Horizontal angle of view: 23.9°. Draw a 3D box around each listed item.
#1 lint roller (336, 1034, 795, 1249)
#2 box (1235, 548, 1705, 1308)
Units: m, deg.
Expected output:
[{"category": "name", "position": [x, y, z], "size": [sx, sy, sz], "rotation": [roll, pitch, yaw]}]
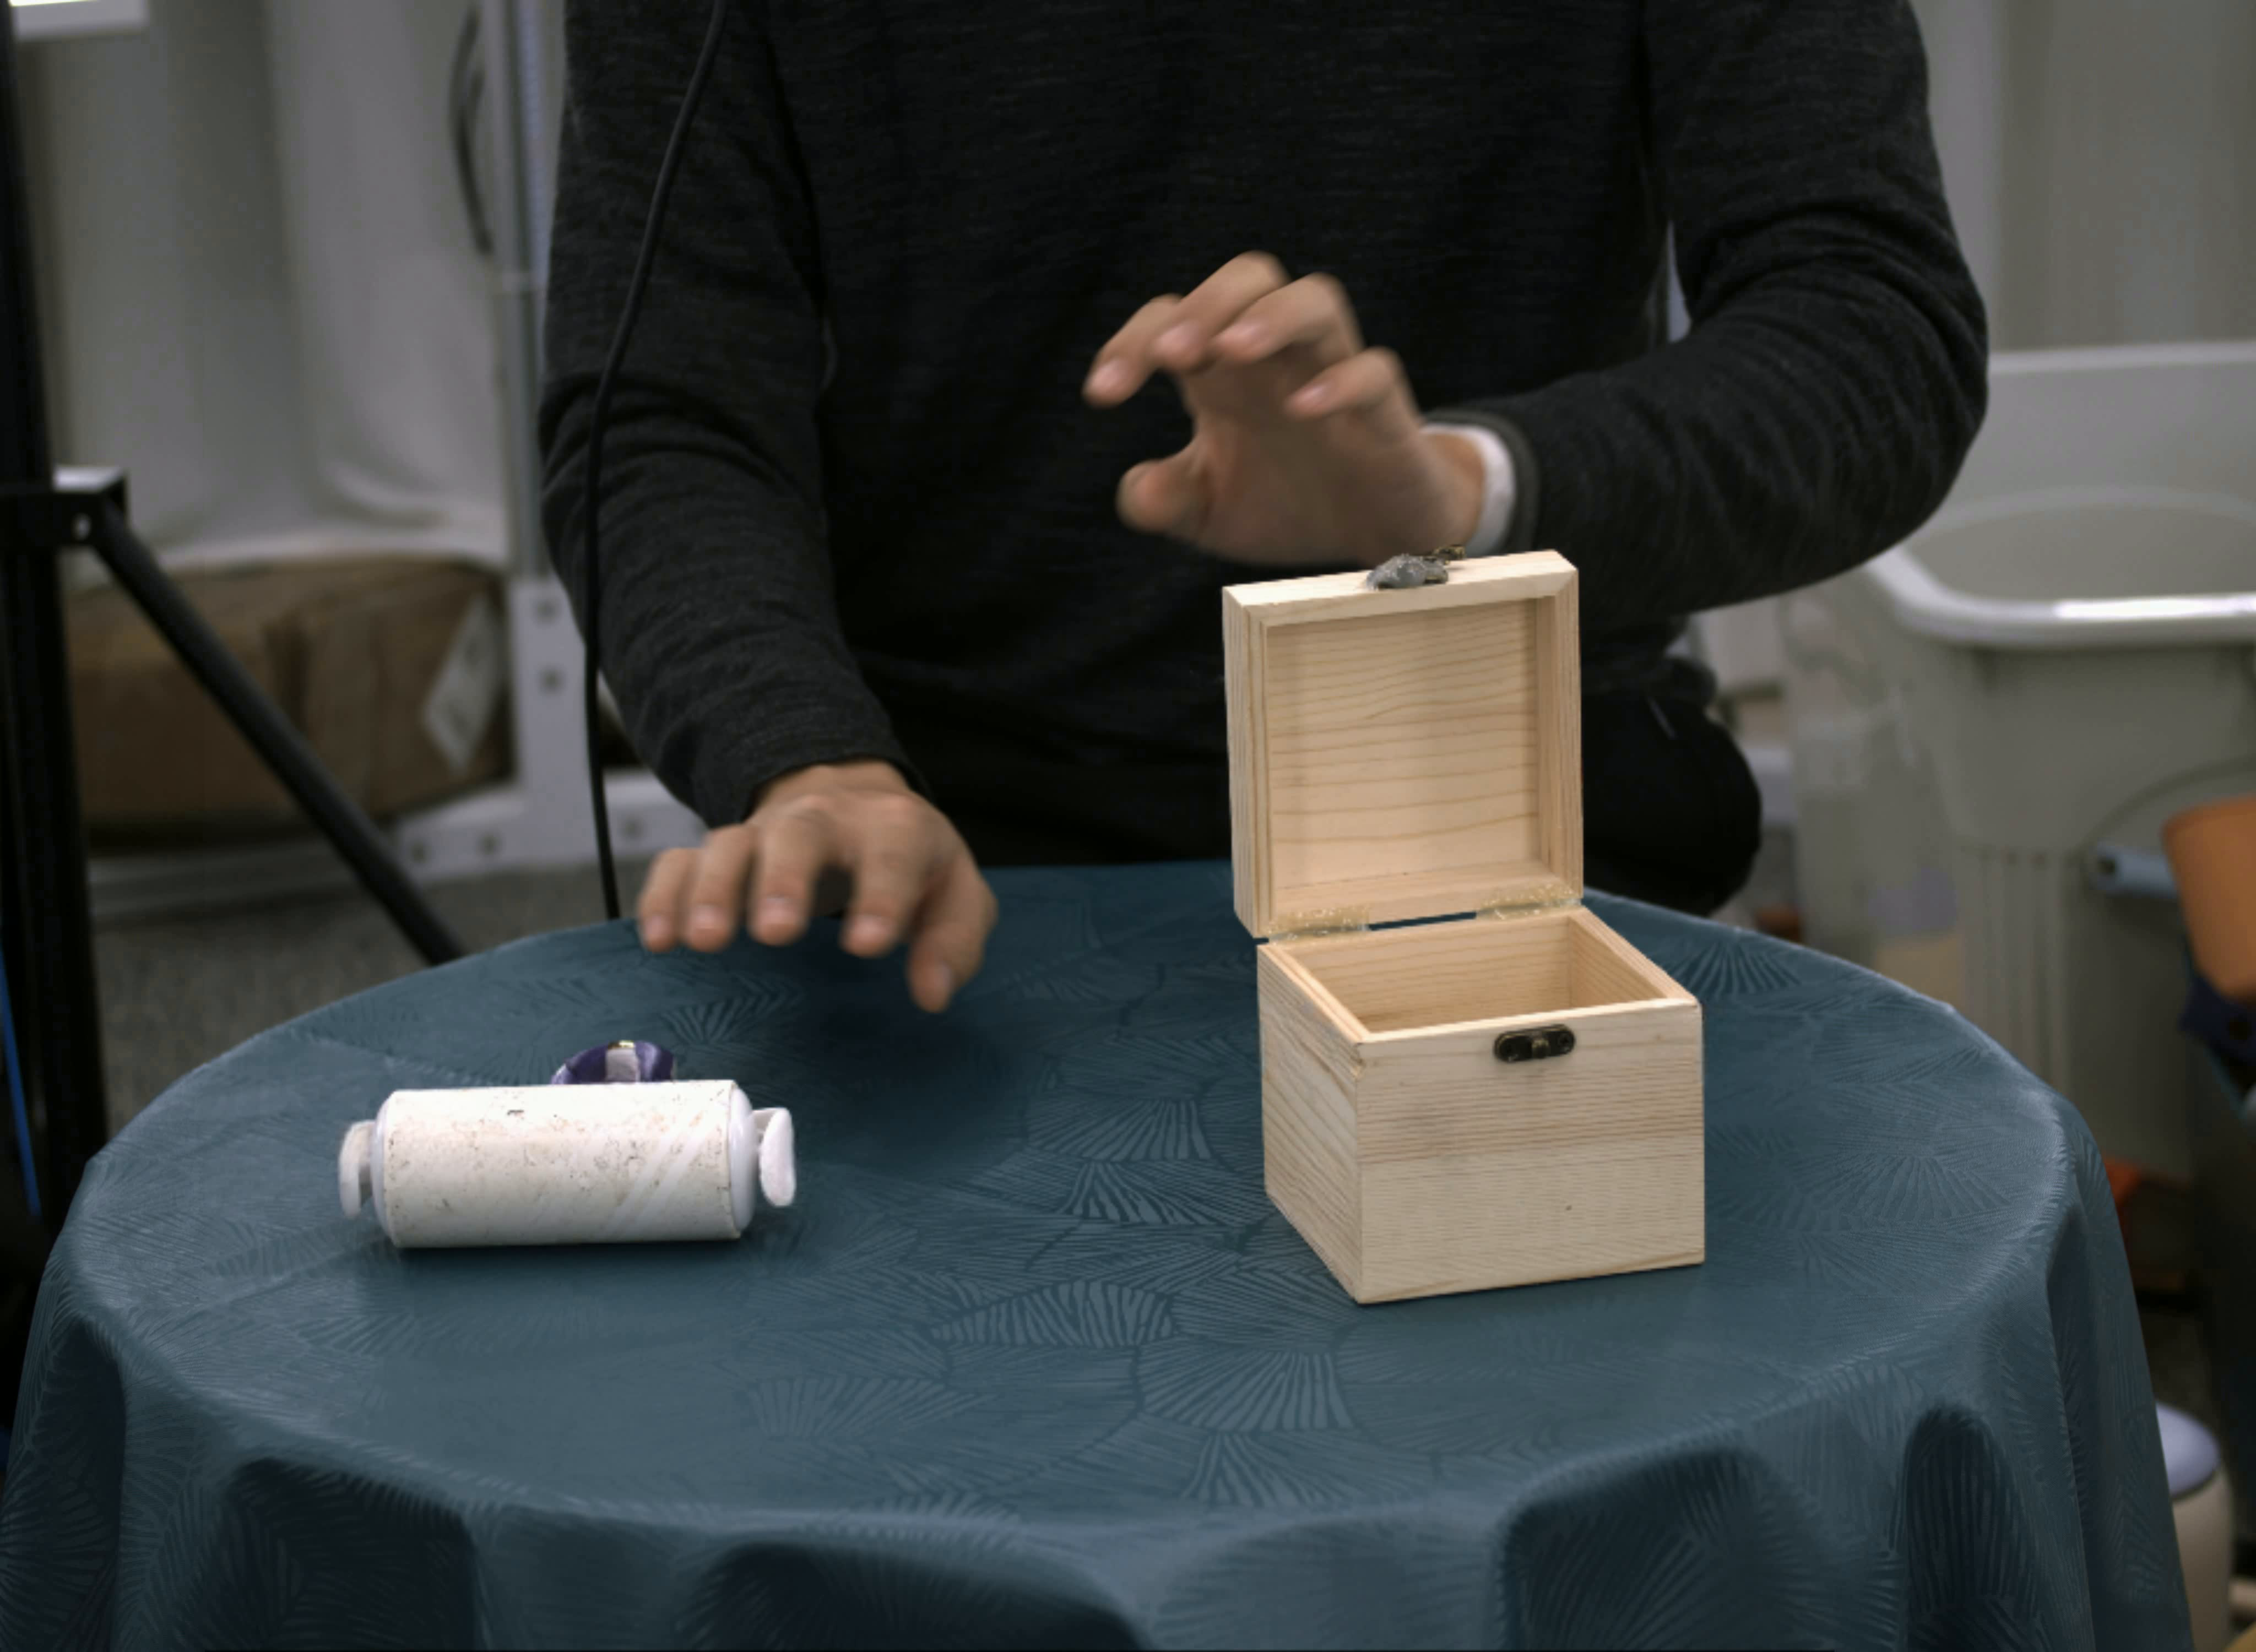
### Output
[{"category": "lint roller", "position": [-0.159, 0.079, 1.600], "size": [0.133, 0.050, 0.181], "rotation": [-3, 18, 5]}, {"category": "box", "position": [0.096, 0.025, 1.497], "size": [0.101, 0.184, 0.136], "rotation": [-5, 15, -12]}]
